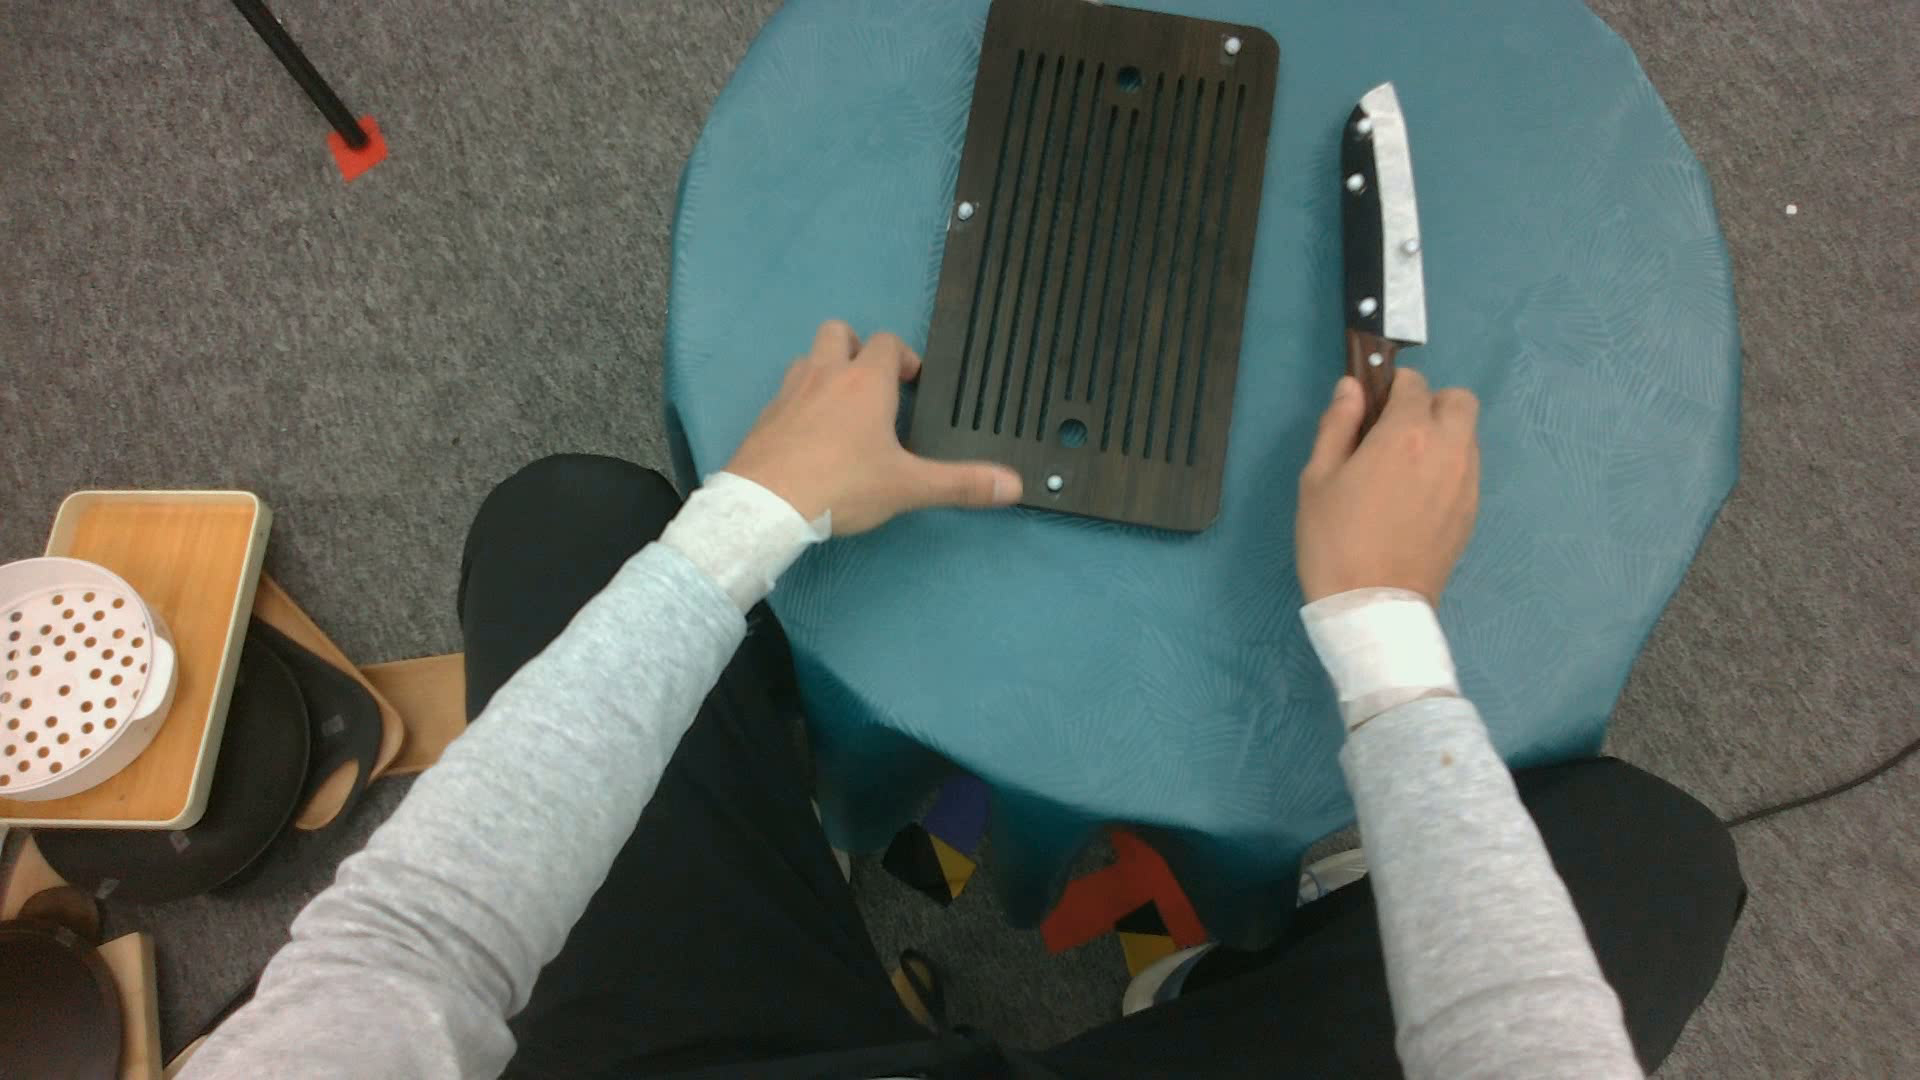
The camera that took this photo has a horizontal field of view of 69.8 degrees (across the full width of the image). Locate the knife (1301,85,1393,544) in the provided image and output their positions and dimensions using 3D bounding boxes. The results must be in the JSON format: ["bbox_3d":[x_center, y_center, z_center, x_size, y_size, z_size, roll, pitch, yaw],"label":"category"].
[{"bbox_3d":[0.212,-0.133,0.752,0.050,0.020,0.290,6,68,-4],"label":"knife"}]

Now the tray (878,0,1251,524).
[{"bbox_3d":[0.062,-0.165,0.768,0.170,0.018,0.306,10,75,0],"label":"tray"}]
